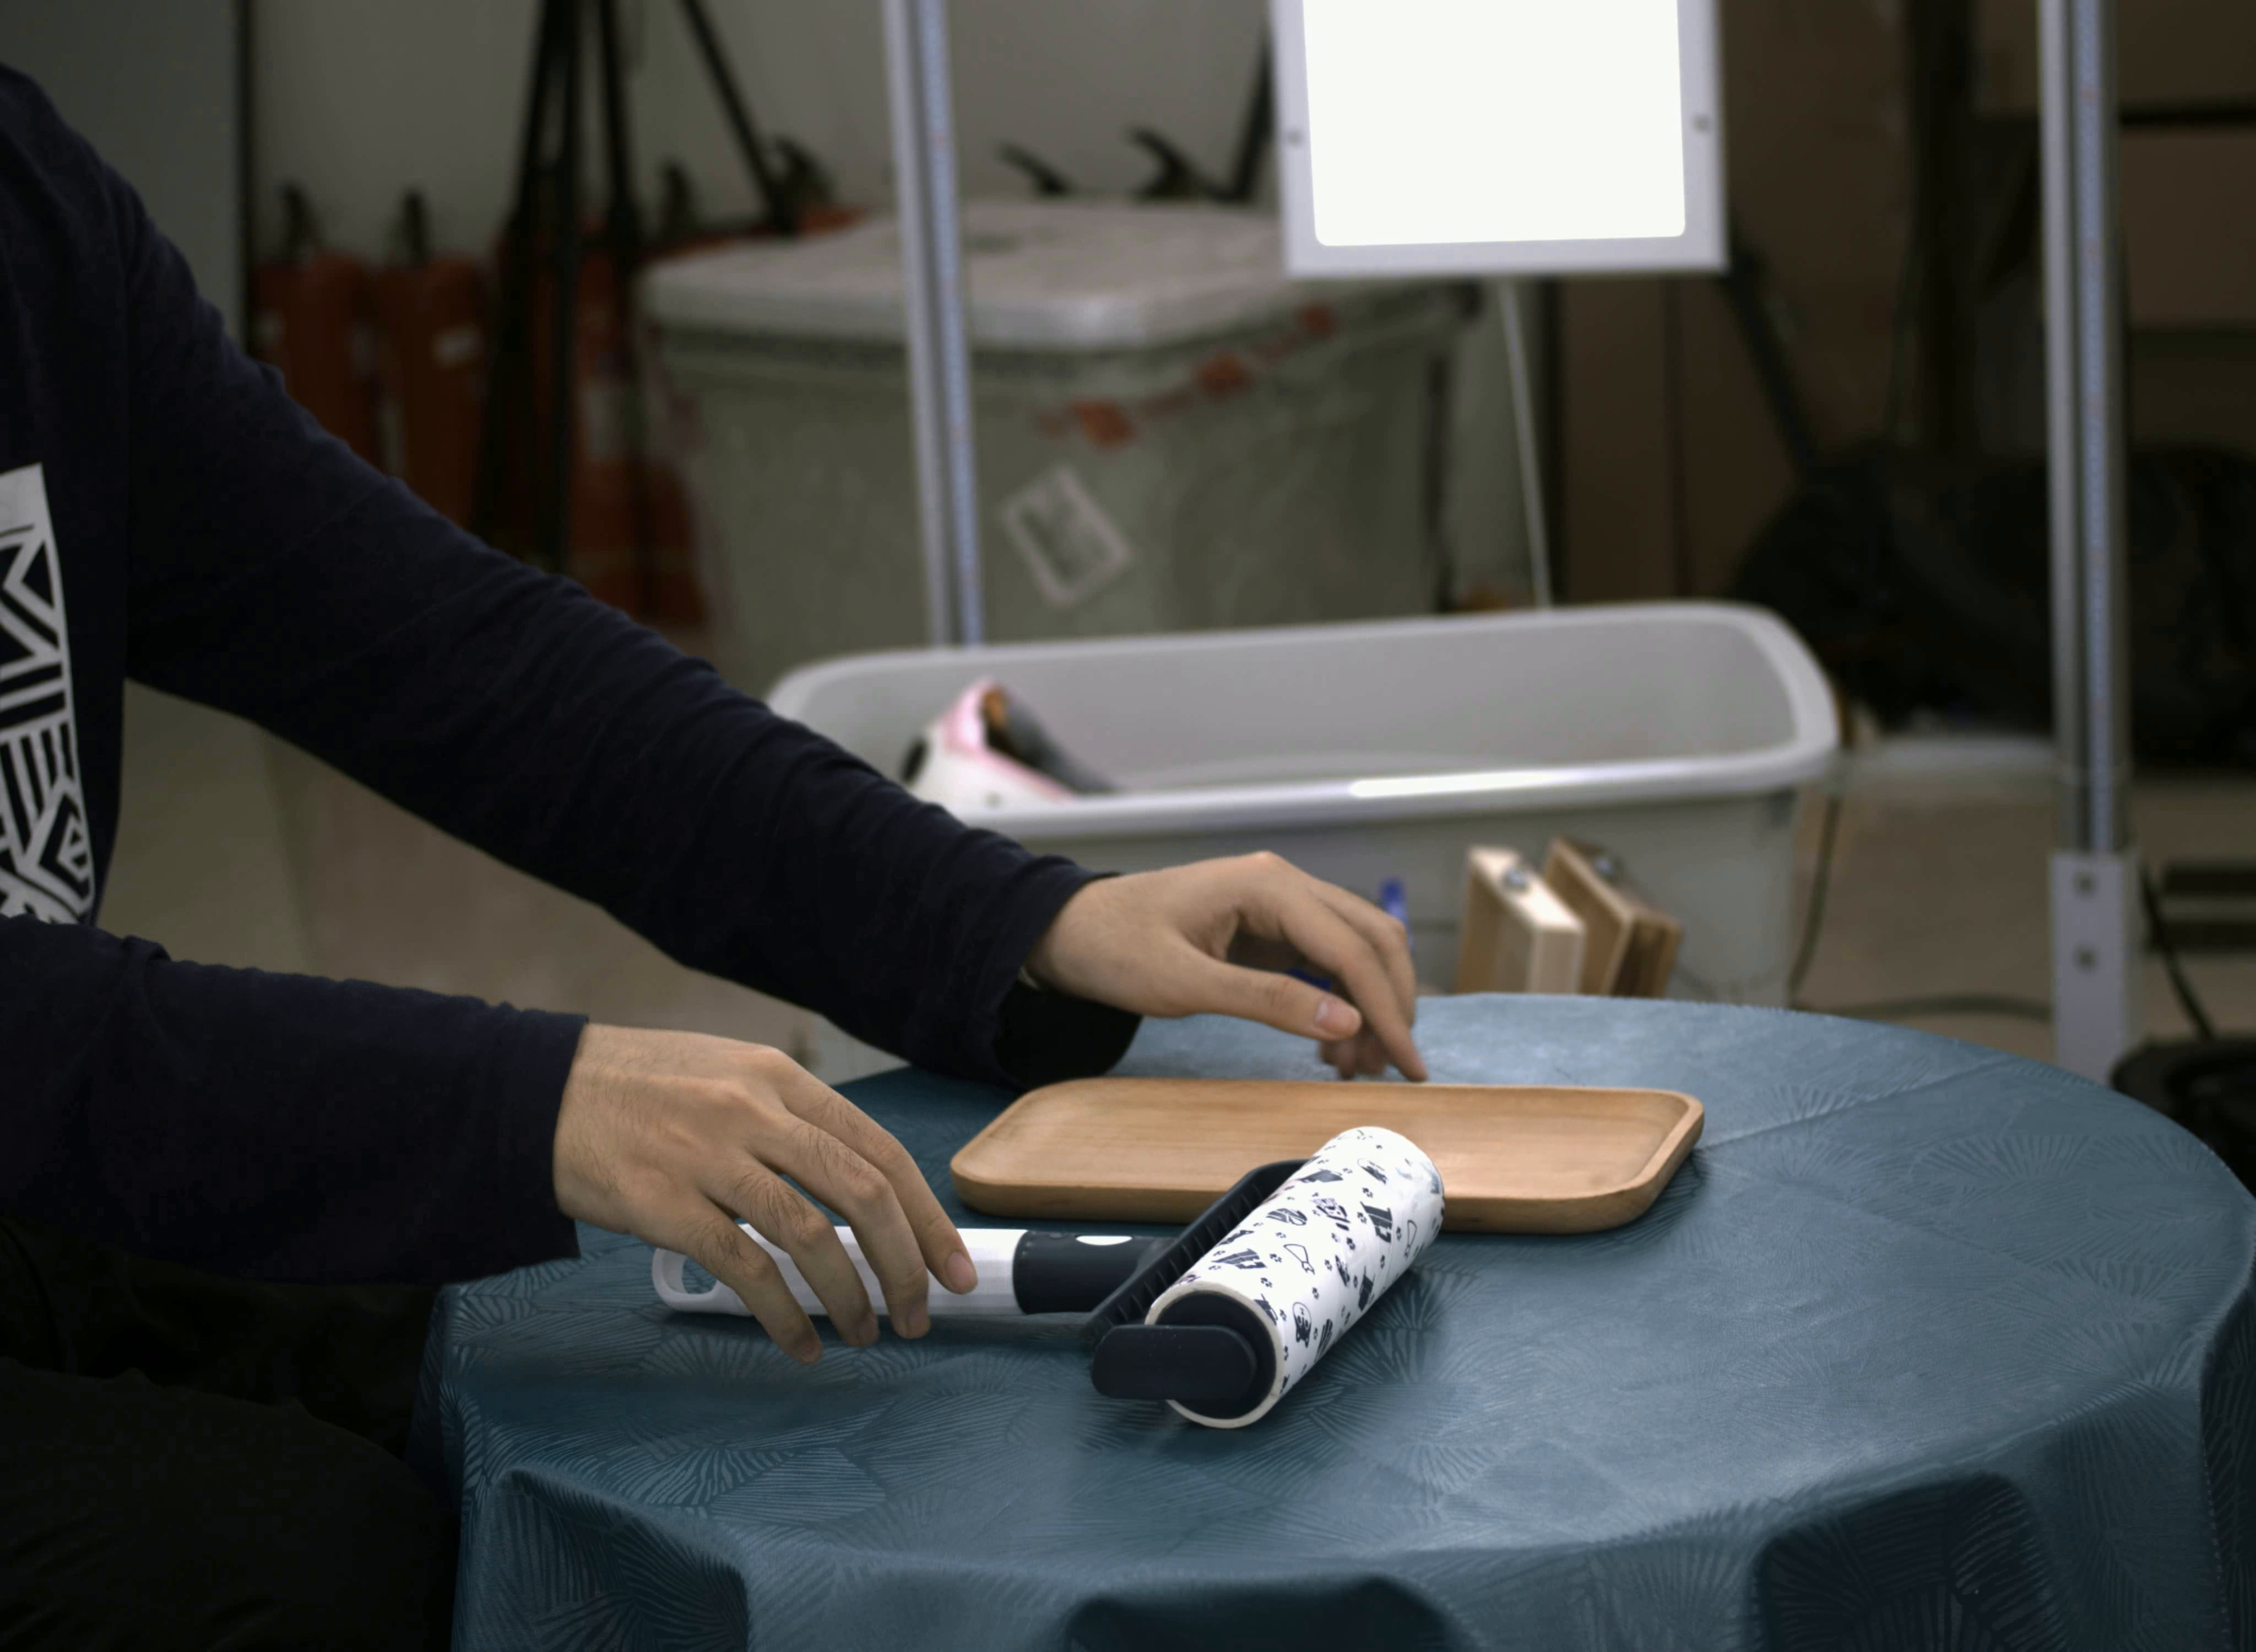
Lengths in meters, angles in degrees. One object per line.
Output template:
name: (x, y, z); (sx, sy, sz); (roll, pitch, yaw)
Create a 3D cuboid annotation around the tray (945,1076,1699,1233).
tray: (0.067, 0.113, 1.901); (0.254, 0.023, 0.128); (-1, 11, 23)

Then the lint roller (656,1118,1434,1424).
lint roller: (-0.041, 0.143, 1.768); (0.251, 0.050, 0.173); (-3, 14, 23)
